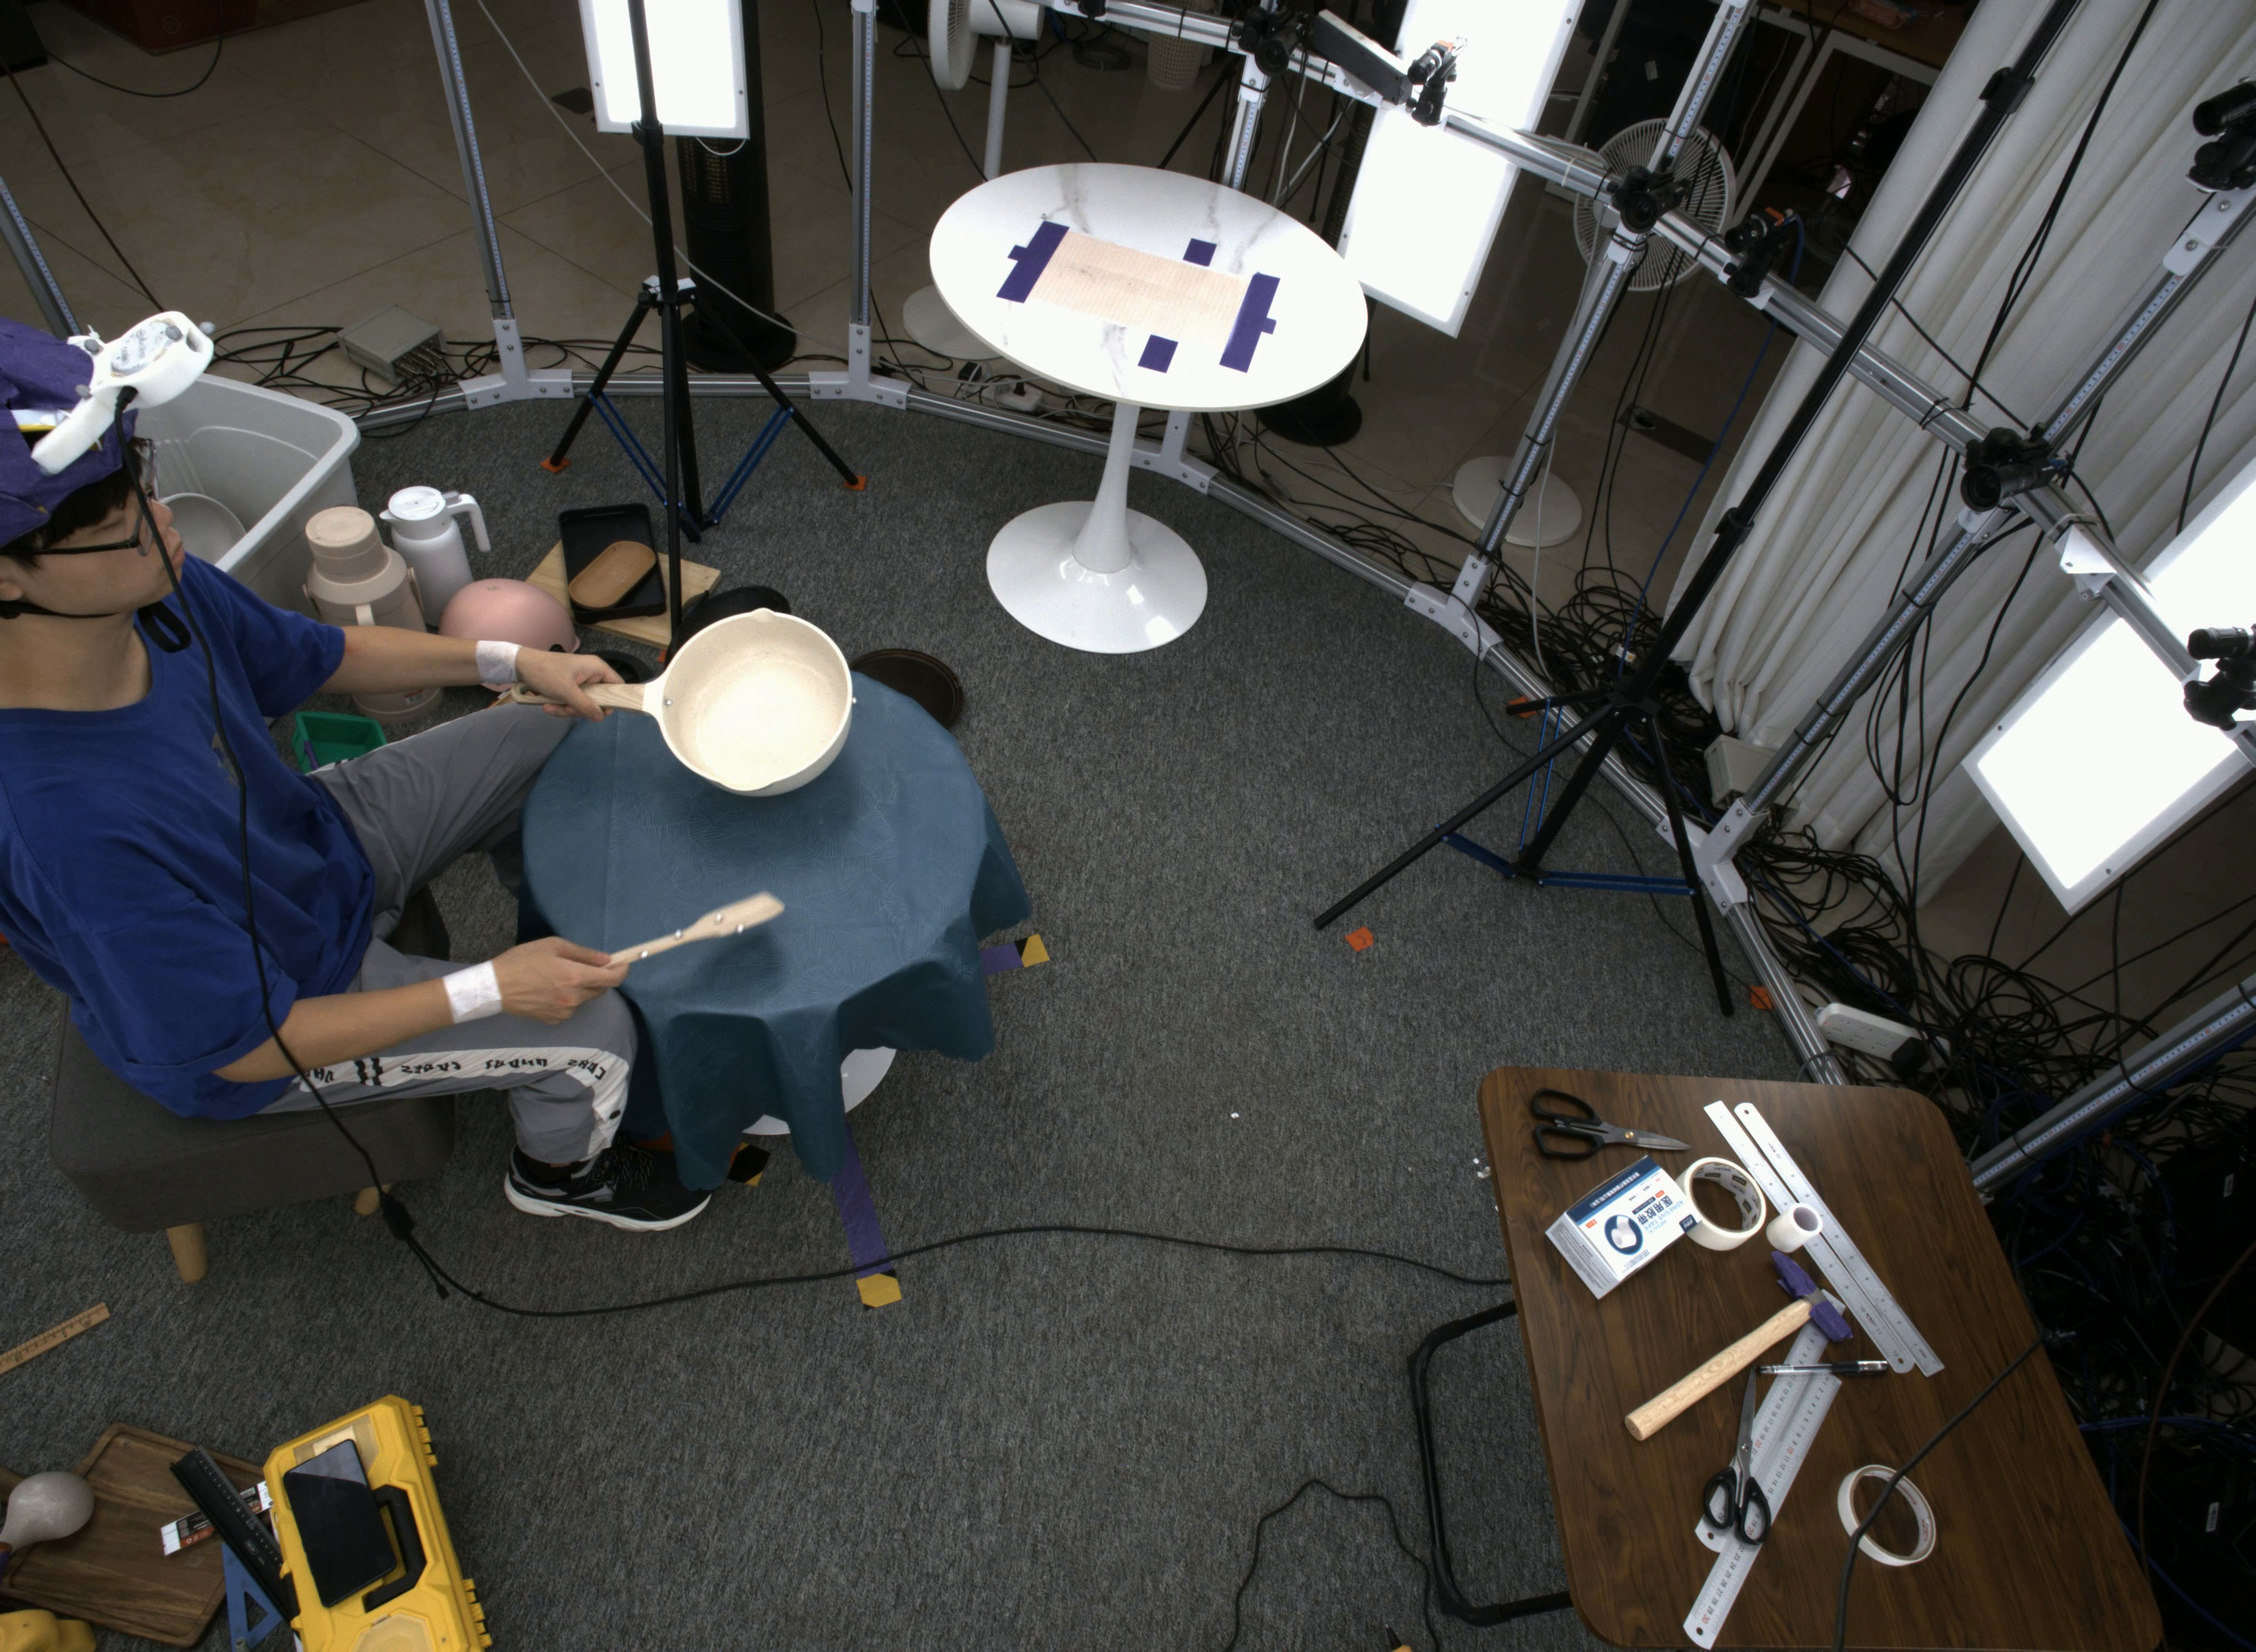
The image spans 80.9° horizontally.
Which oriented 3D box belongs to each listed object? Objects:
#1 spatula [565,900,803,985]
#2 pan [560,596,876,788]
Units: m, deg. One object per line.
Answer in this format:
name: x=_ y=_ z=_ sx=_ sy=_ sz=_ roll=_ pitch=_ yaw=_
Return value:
spatula: x=-0.528 y=0.137 z=1.519 sx=0.295 sy=0.011 sz=0.069 roll=-17 pitch=22 yaw=-33
pan: x=-0.545 y=-0.167 z=1.704 sx=0.431 sy=0.103 sz=0.262 roll=-1 pitch=73 yaw=-3
